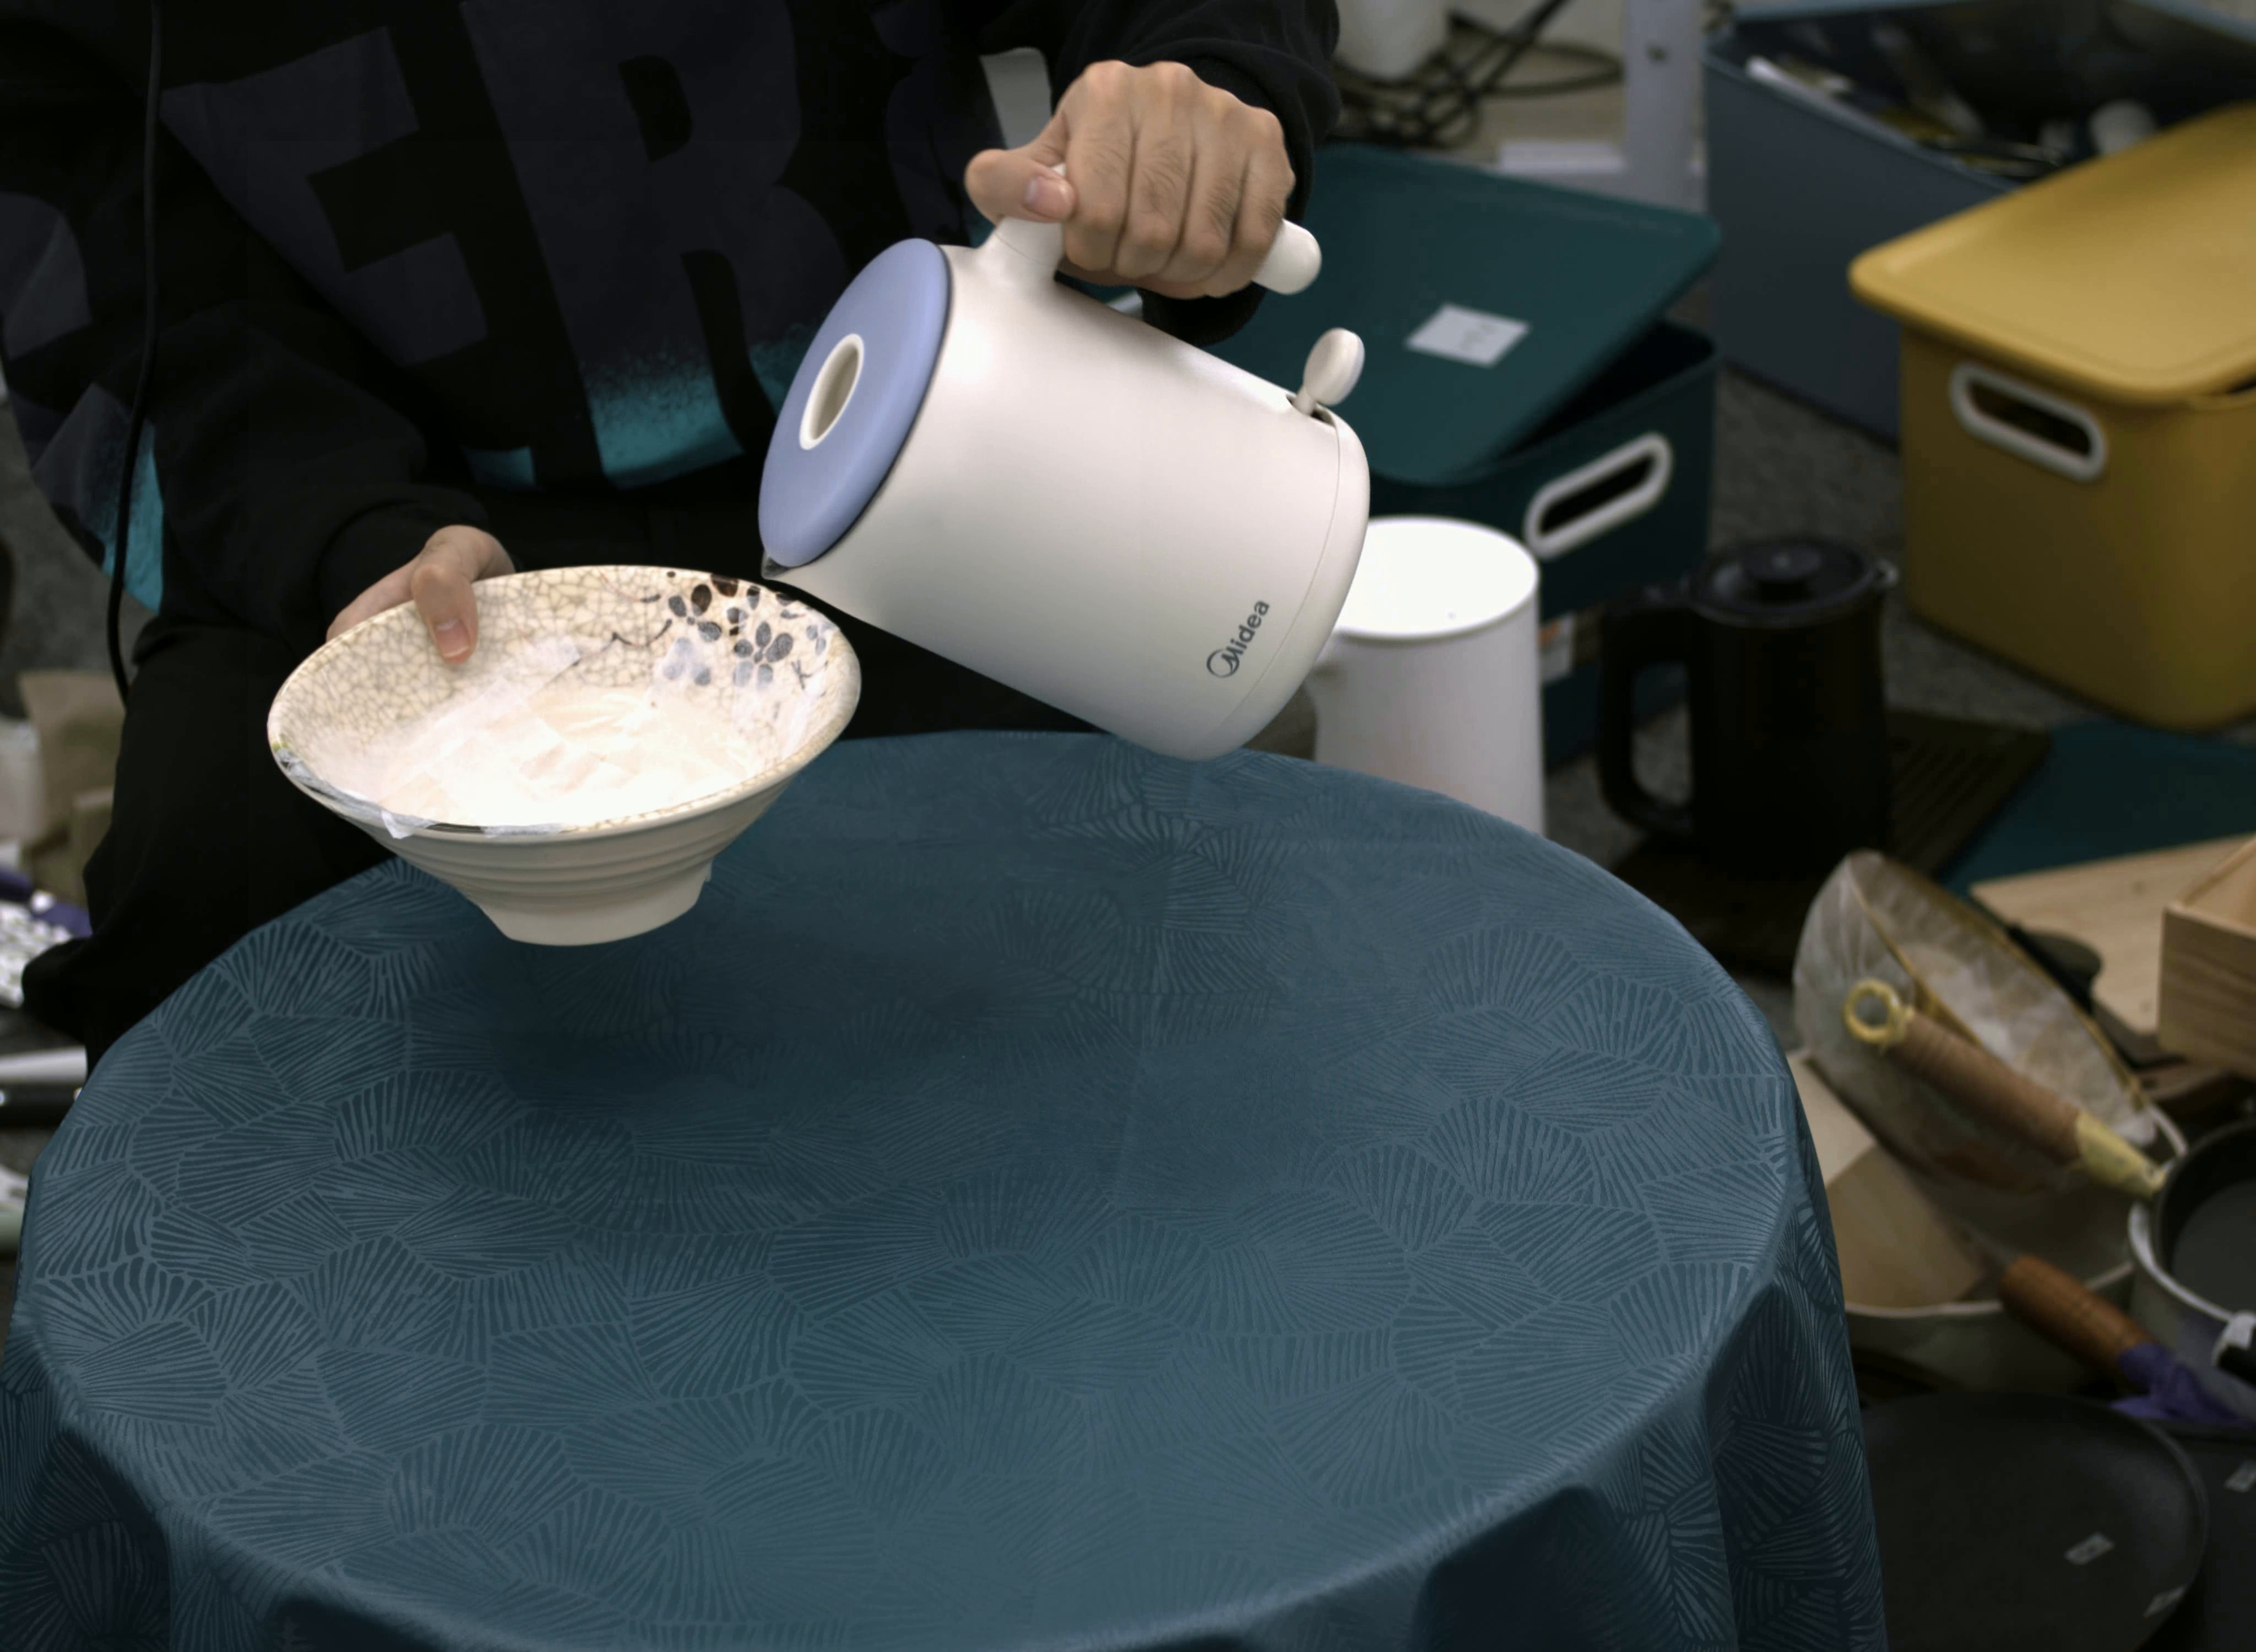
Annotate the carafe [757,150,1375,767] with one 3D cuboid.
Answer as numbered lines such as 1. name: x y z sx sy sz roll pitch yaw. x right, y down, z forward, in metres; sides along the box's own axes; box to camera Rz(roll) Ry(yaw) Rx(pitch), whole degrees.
1. carafe: -0.009 -0.130 1.892 0.182 0.190 0.133 28 14 -24

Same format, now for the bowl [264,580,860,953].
1. bowl: -0.191 -0.010 1.931 0.203 0.077 0.207 -2 25 1
